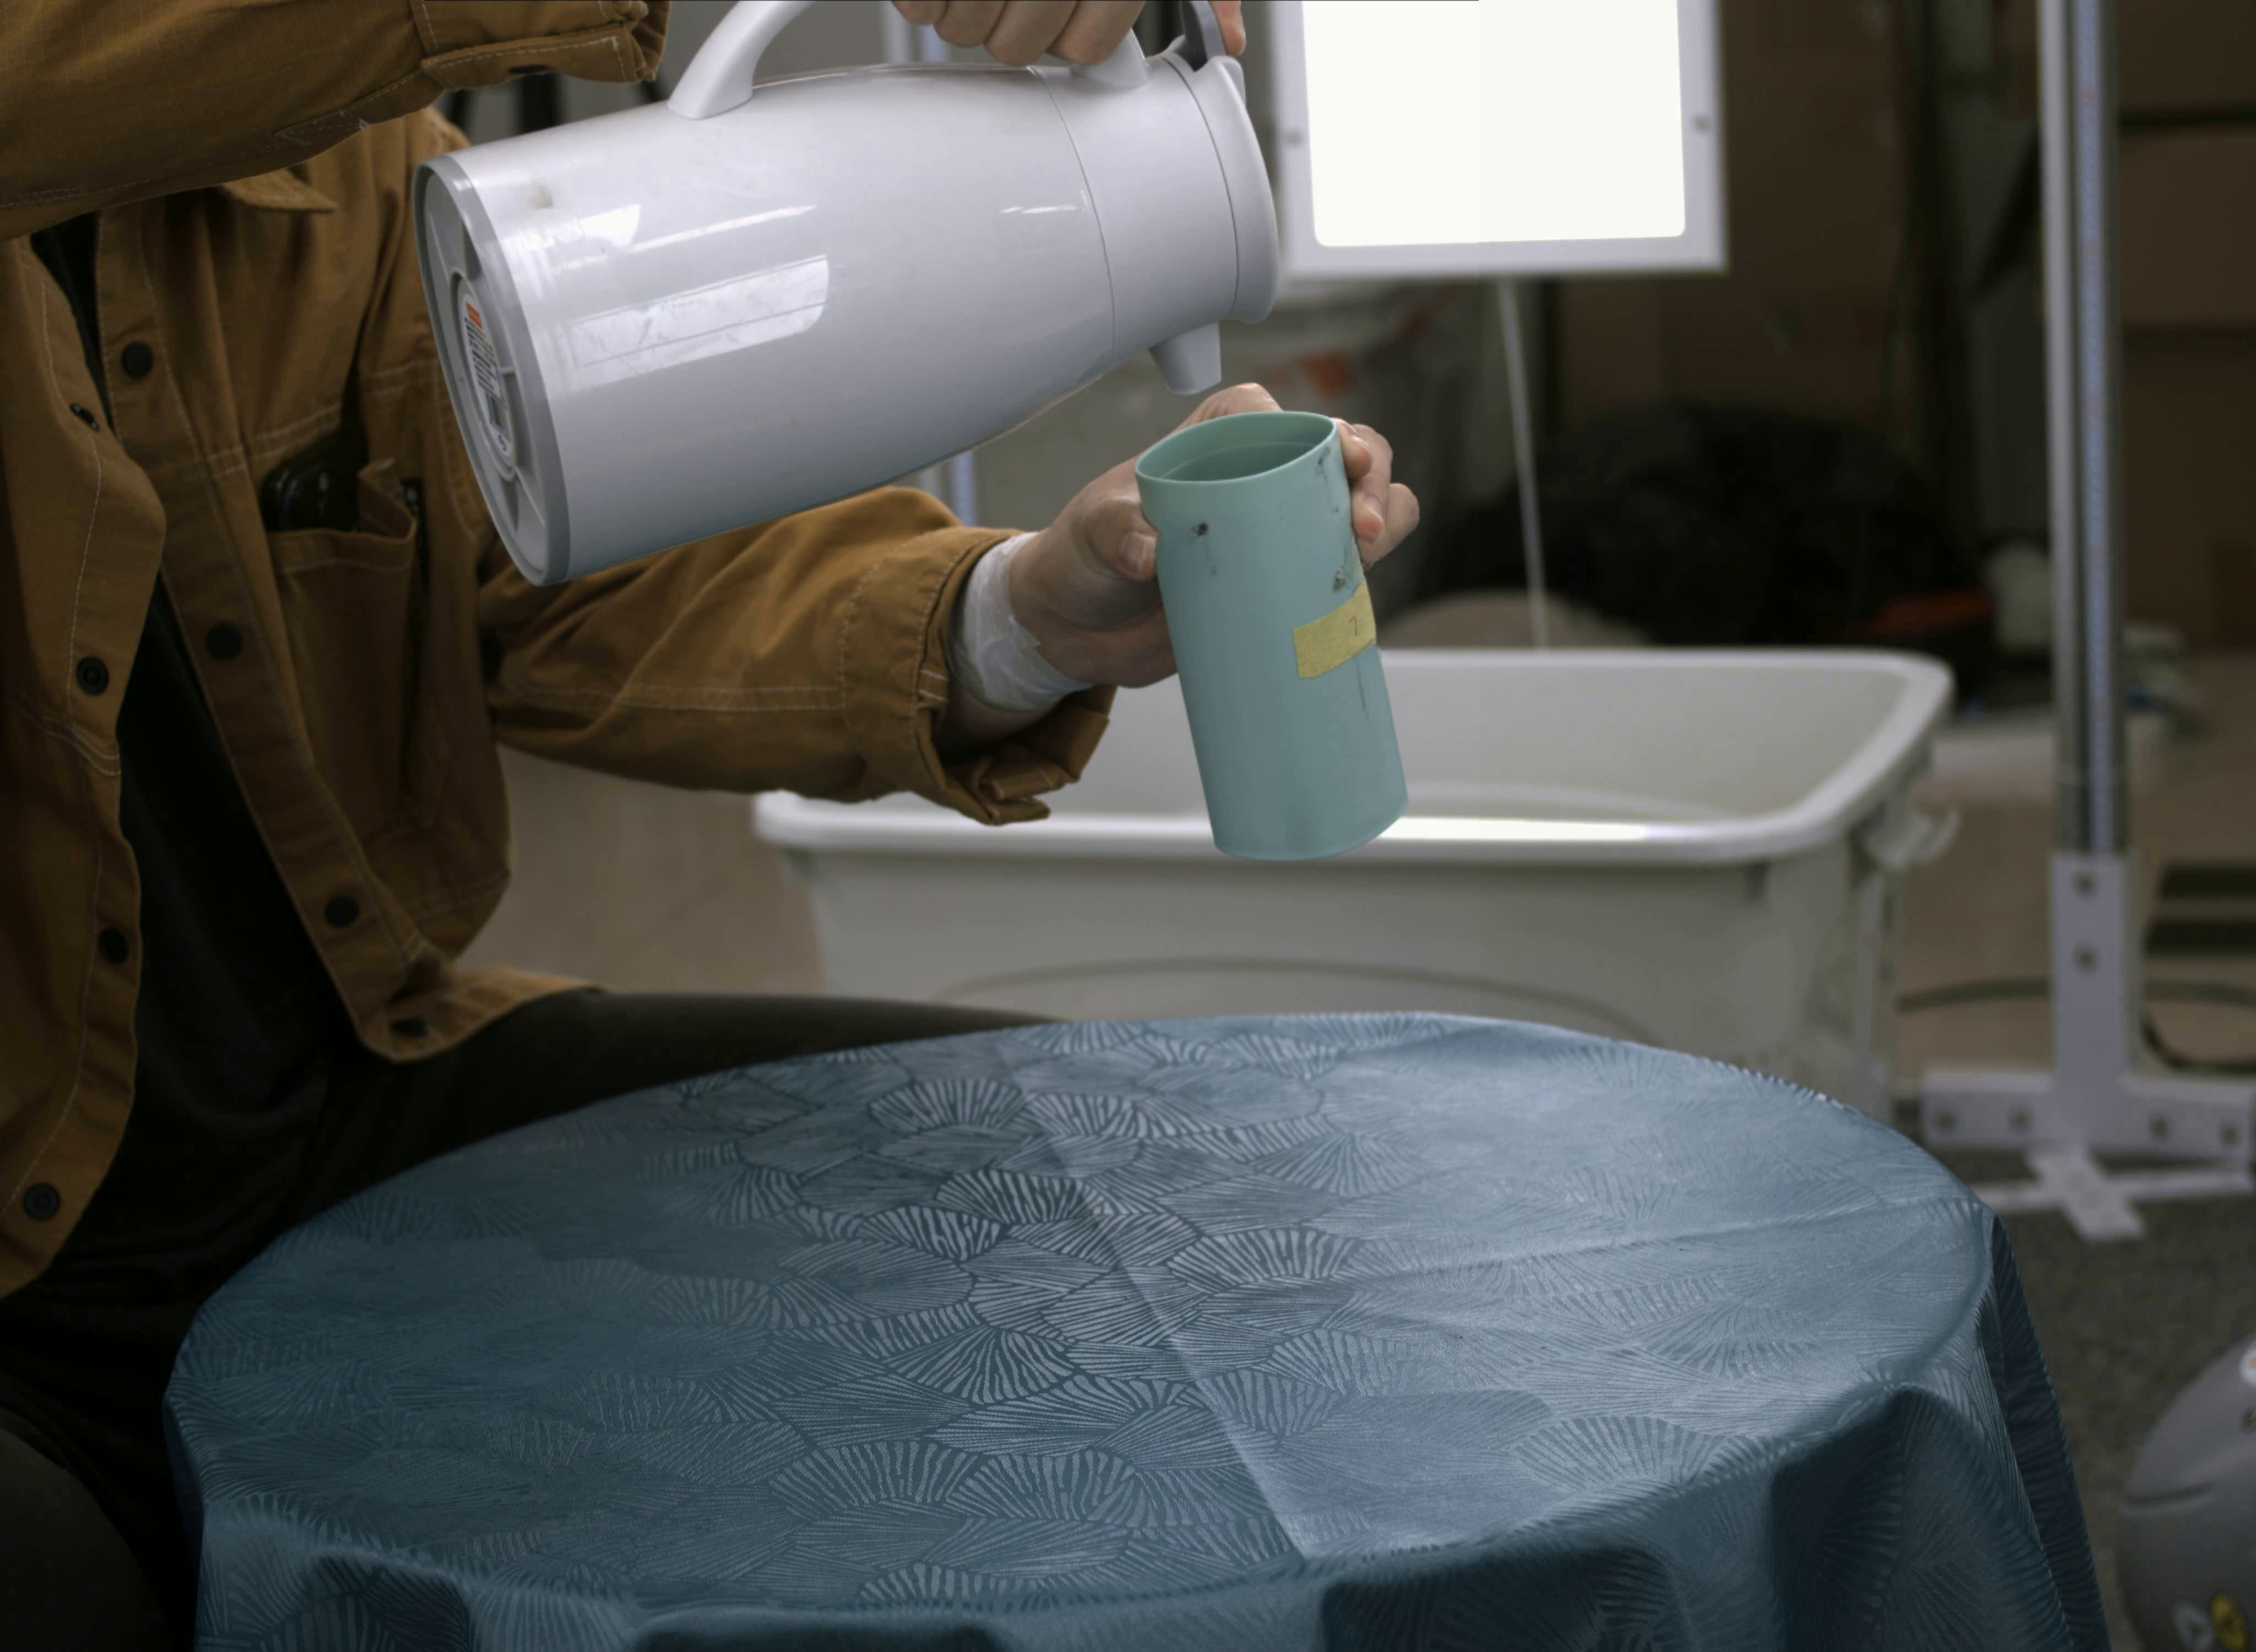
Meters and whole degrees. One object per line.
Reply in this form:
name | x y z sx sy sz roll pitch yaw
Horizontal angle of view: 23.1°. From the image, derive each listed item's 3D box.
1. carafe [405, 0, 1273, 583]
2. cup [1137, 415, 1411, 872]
carafe | -0.083 -0.185 1.659 0.245 0.168 0.134 -16 26 -12
cup | 0.047 -0.058 1.748 0.067 0.132 0.066 -11 21 3
